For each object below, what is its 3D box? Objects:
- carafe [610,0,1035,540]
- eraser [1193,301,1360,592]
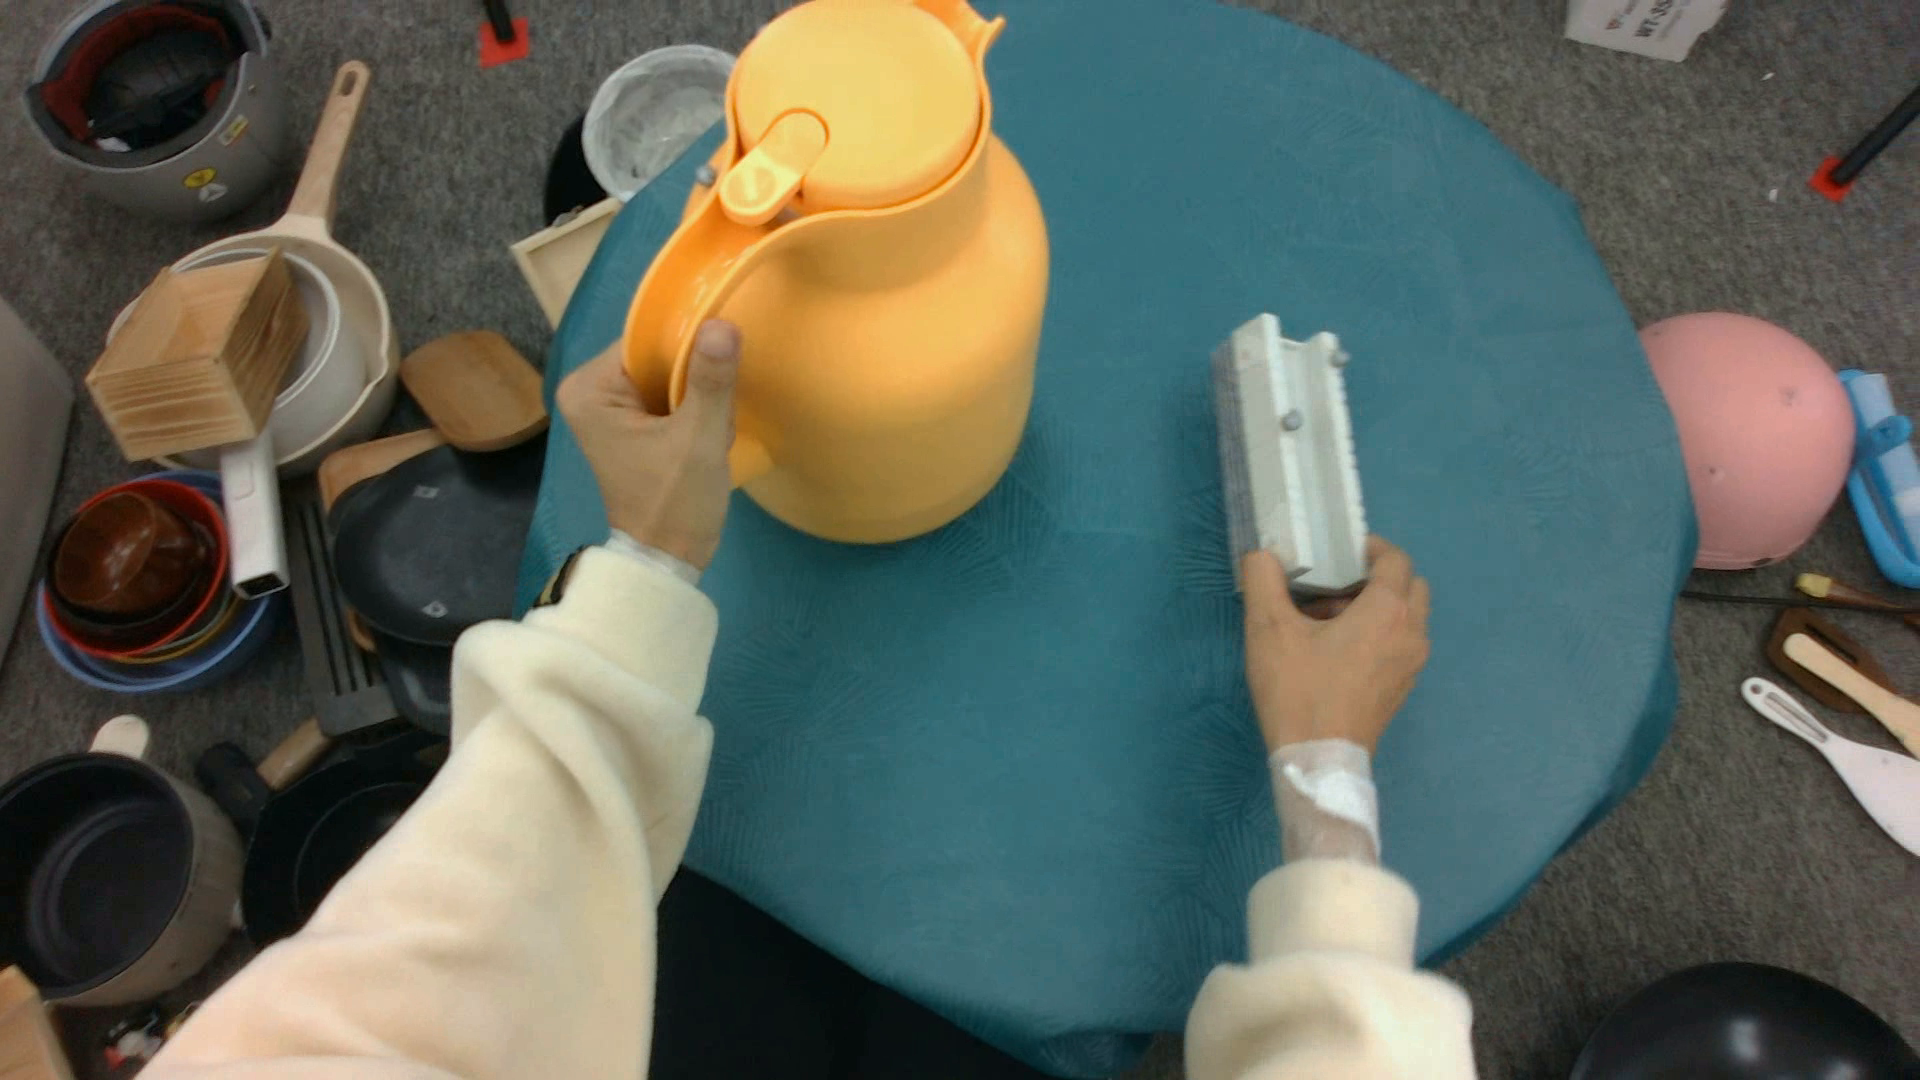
[{"bbox_3d":[-0.062,-0.104,0.600,0.163,0.259,0.203,37,68,15],"label":"carafe"},{"bbox_3d":[0.152,-0.044,0.671,0.050,0.046,0.134,10,64,-35],"label":"eraser"}]
